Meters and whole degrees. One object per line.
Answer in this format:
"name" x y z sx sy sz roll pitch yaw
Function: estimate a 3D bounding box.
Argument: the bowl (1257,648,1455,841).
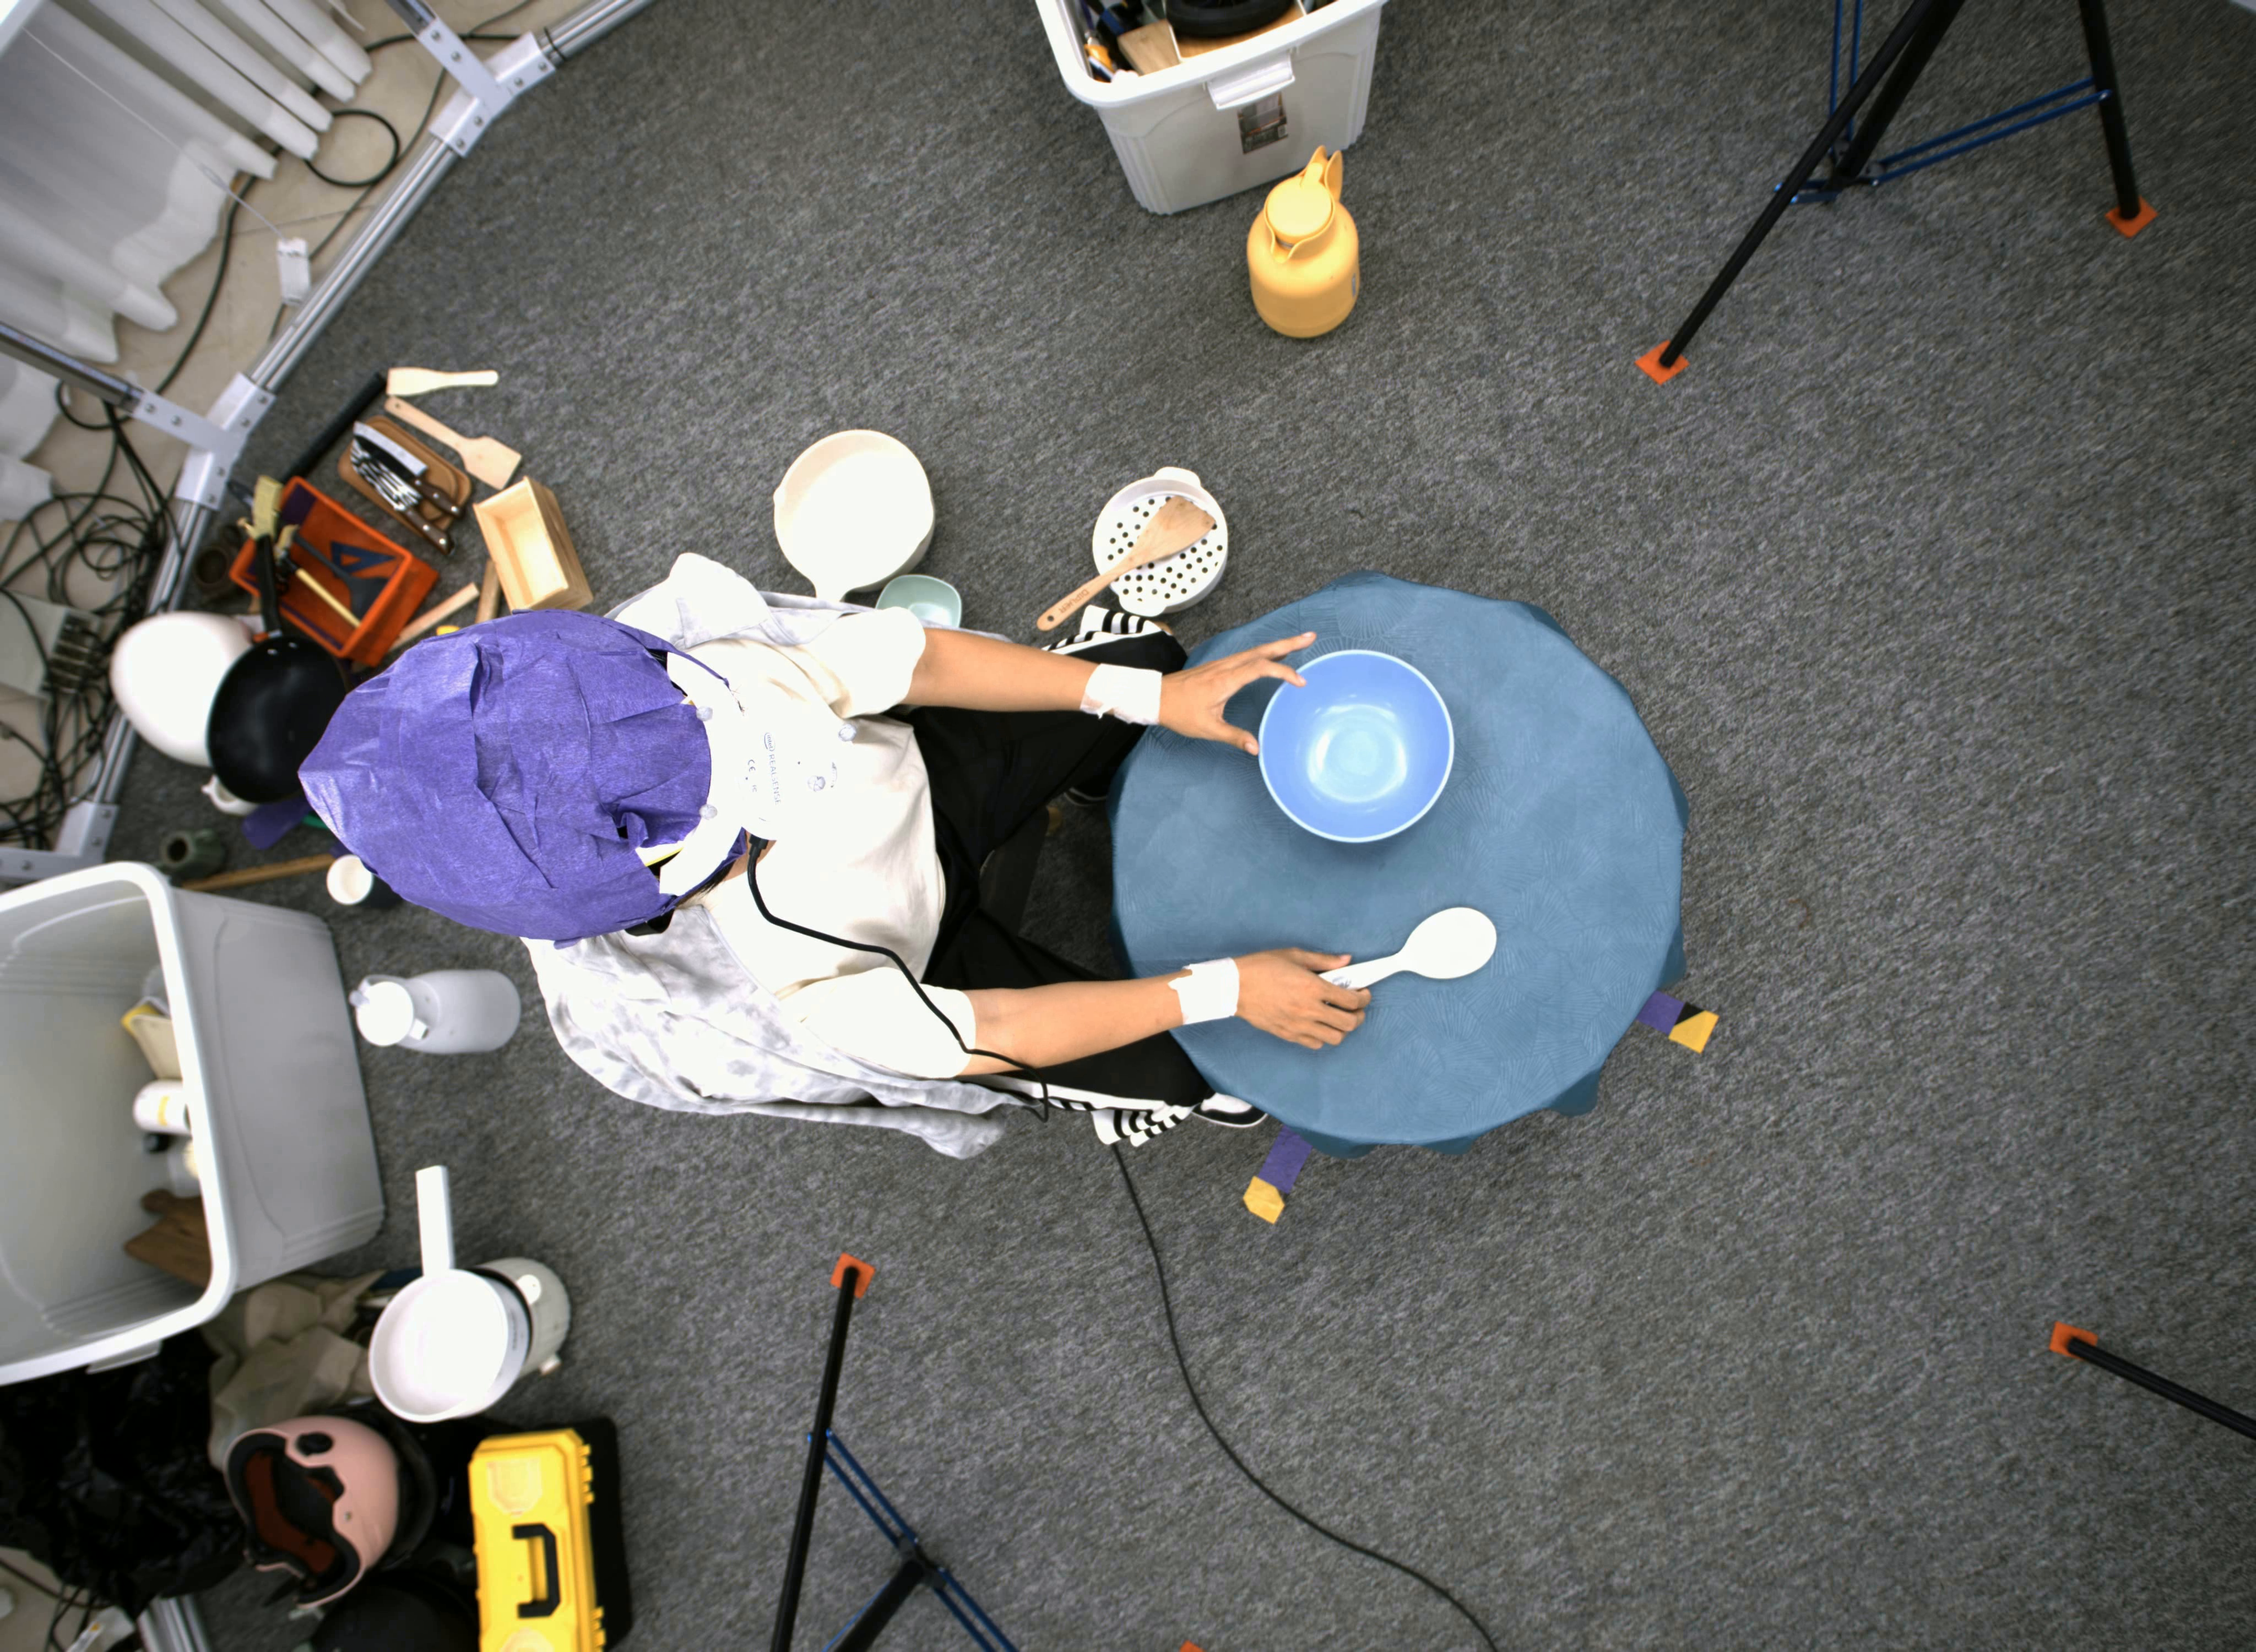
"bowl" 0.234 -0.079 1.424 0.197 0.095 0.195 -1 86 9

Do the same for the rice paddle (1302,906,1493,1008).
"rice paddle" 0.282 0.138 1.437 0.206 0.029 0.068 -21 84 9
